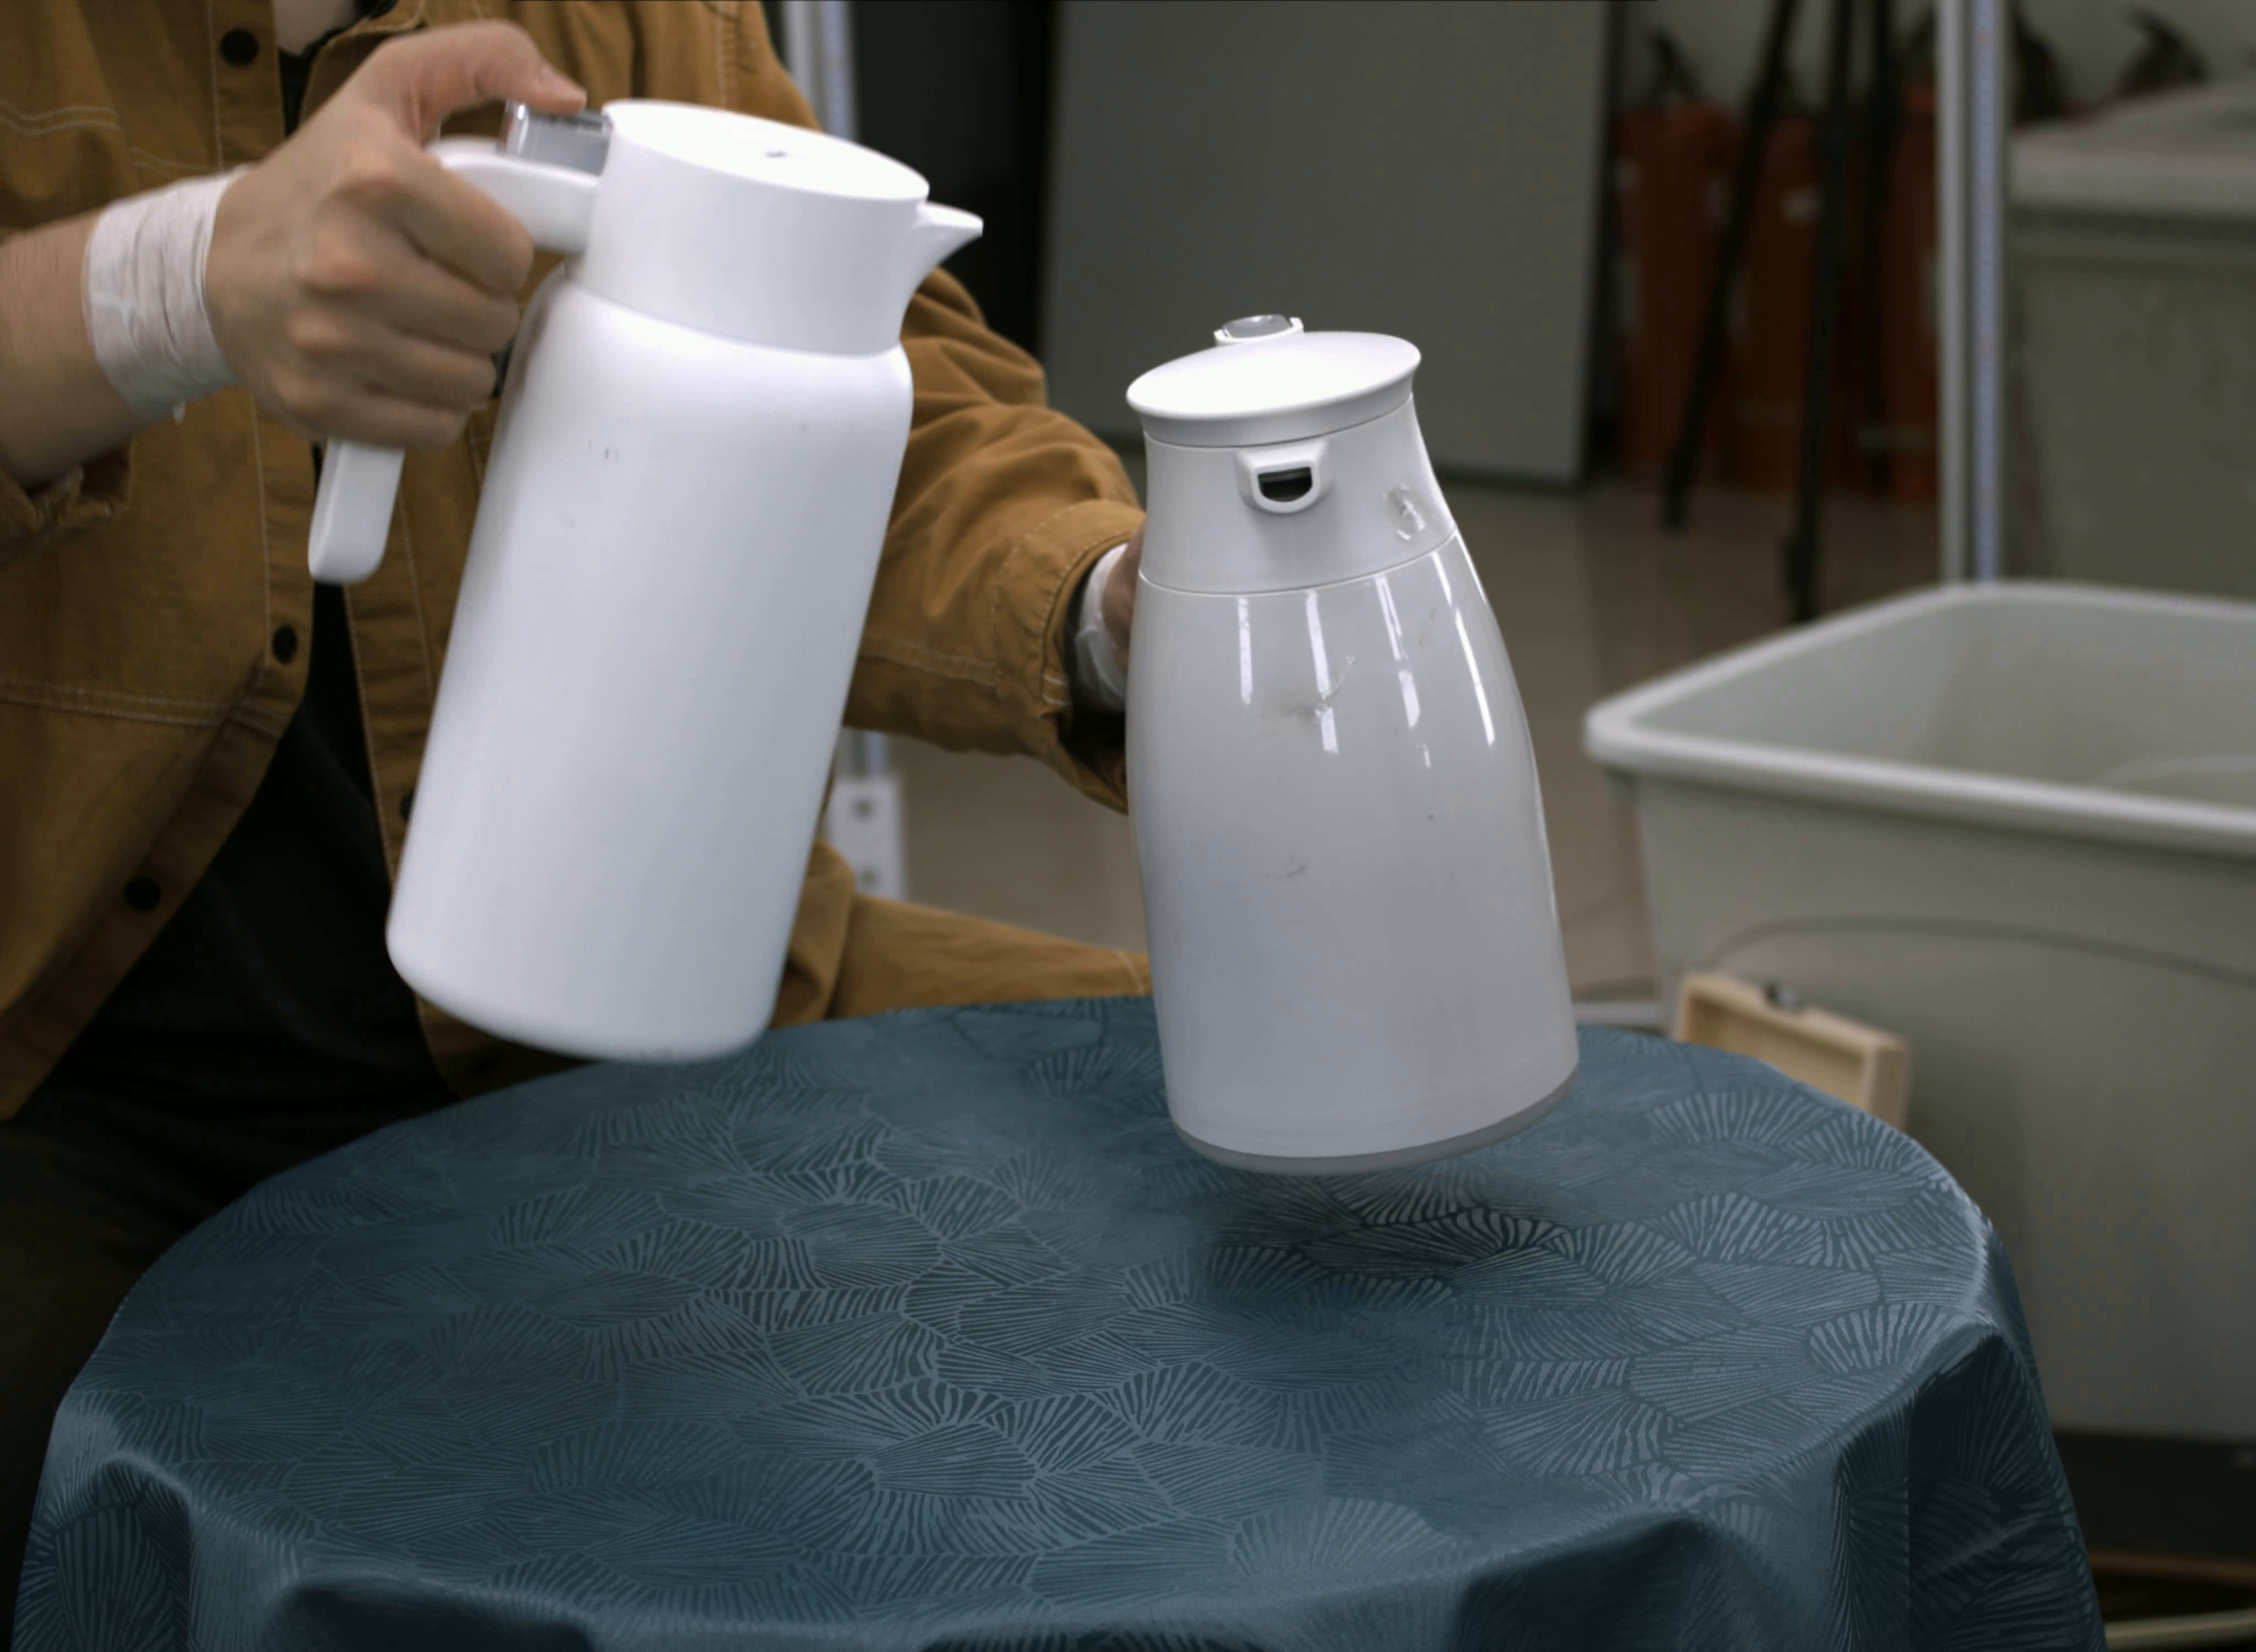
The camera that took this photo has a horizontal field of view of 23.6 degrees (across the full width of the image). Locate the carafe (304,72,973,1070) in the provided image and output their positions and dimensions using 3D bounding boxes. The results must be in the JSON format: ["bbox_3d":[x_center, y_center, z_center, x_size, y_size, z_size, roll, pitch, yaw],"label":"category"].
[{"bbox_3d":[-0.151,-0.074,1.563,0.169,0.272,0.125,8,18,-16],"label":"carafe"}]

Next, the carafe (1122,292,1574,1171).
[{"bbox_3d":[0.058,-0.038,1.691,0.131,0.251,0.168,-9,16,2],"label":"carafe"}]
